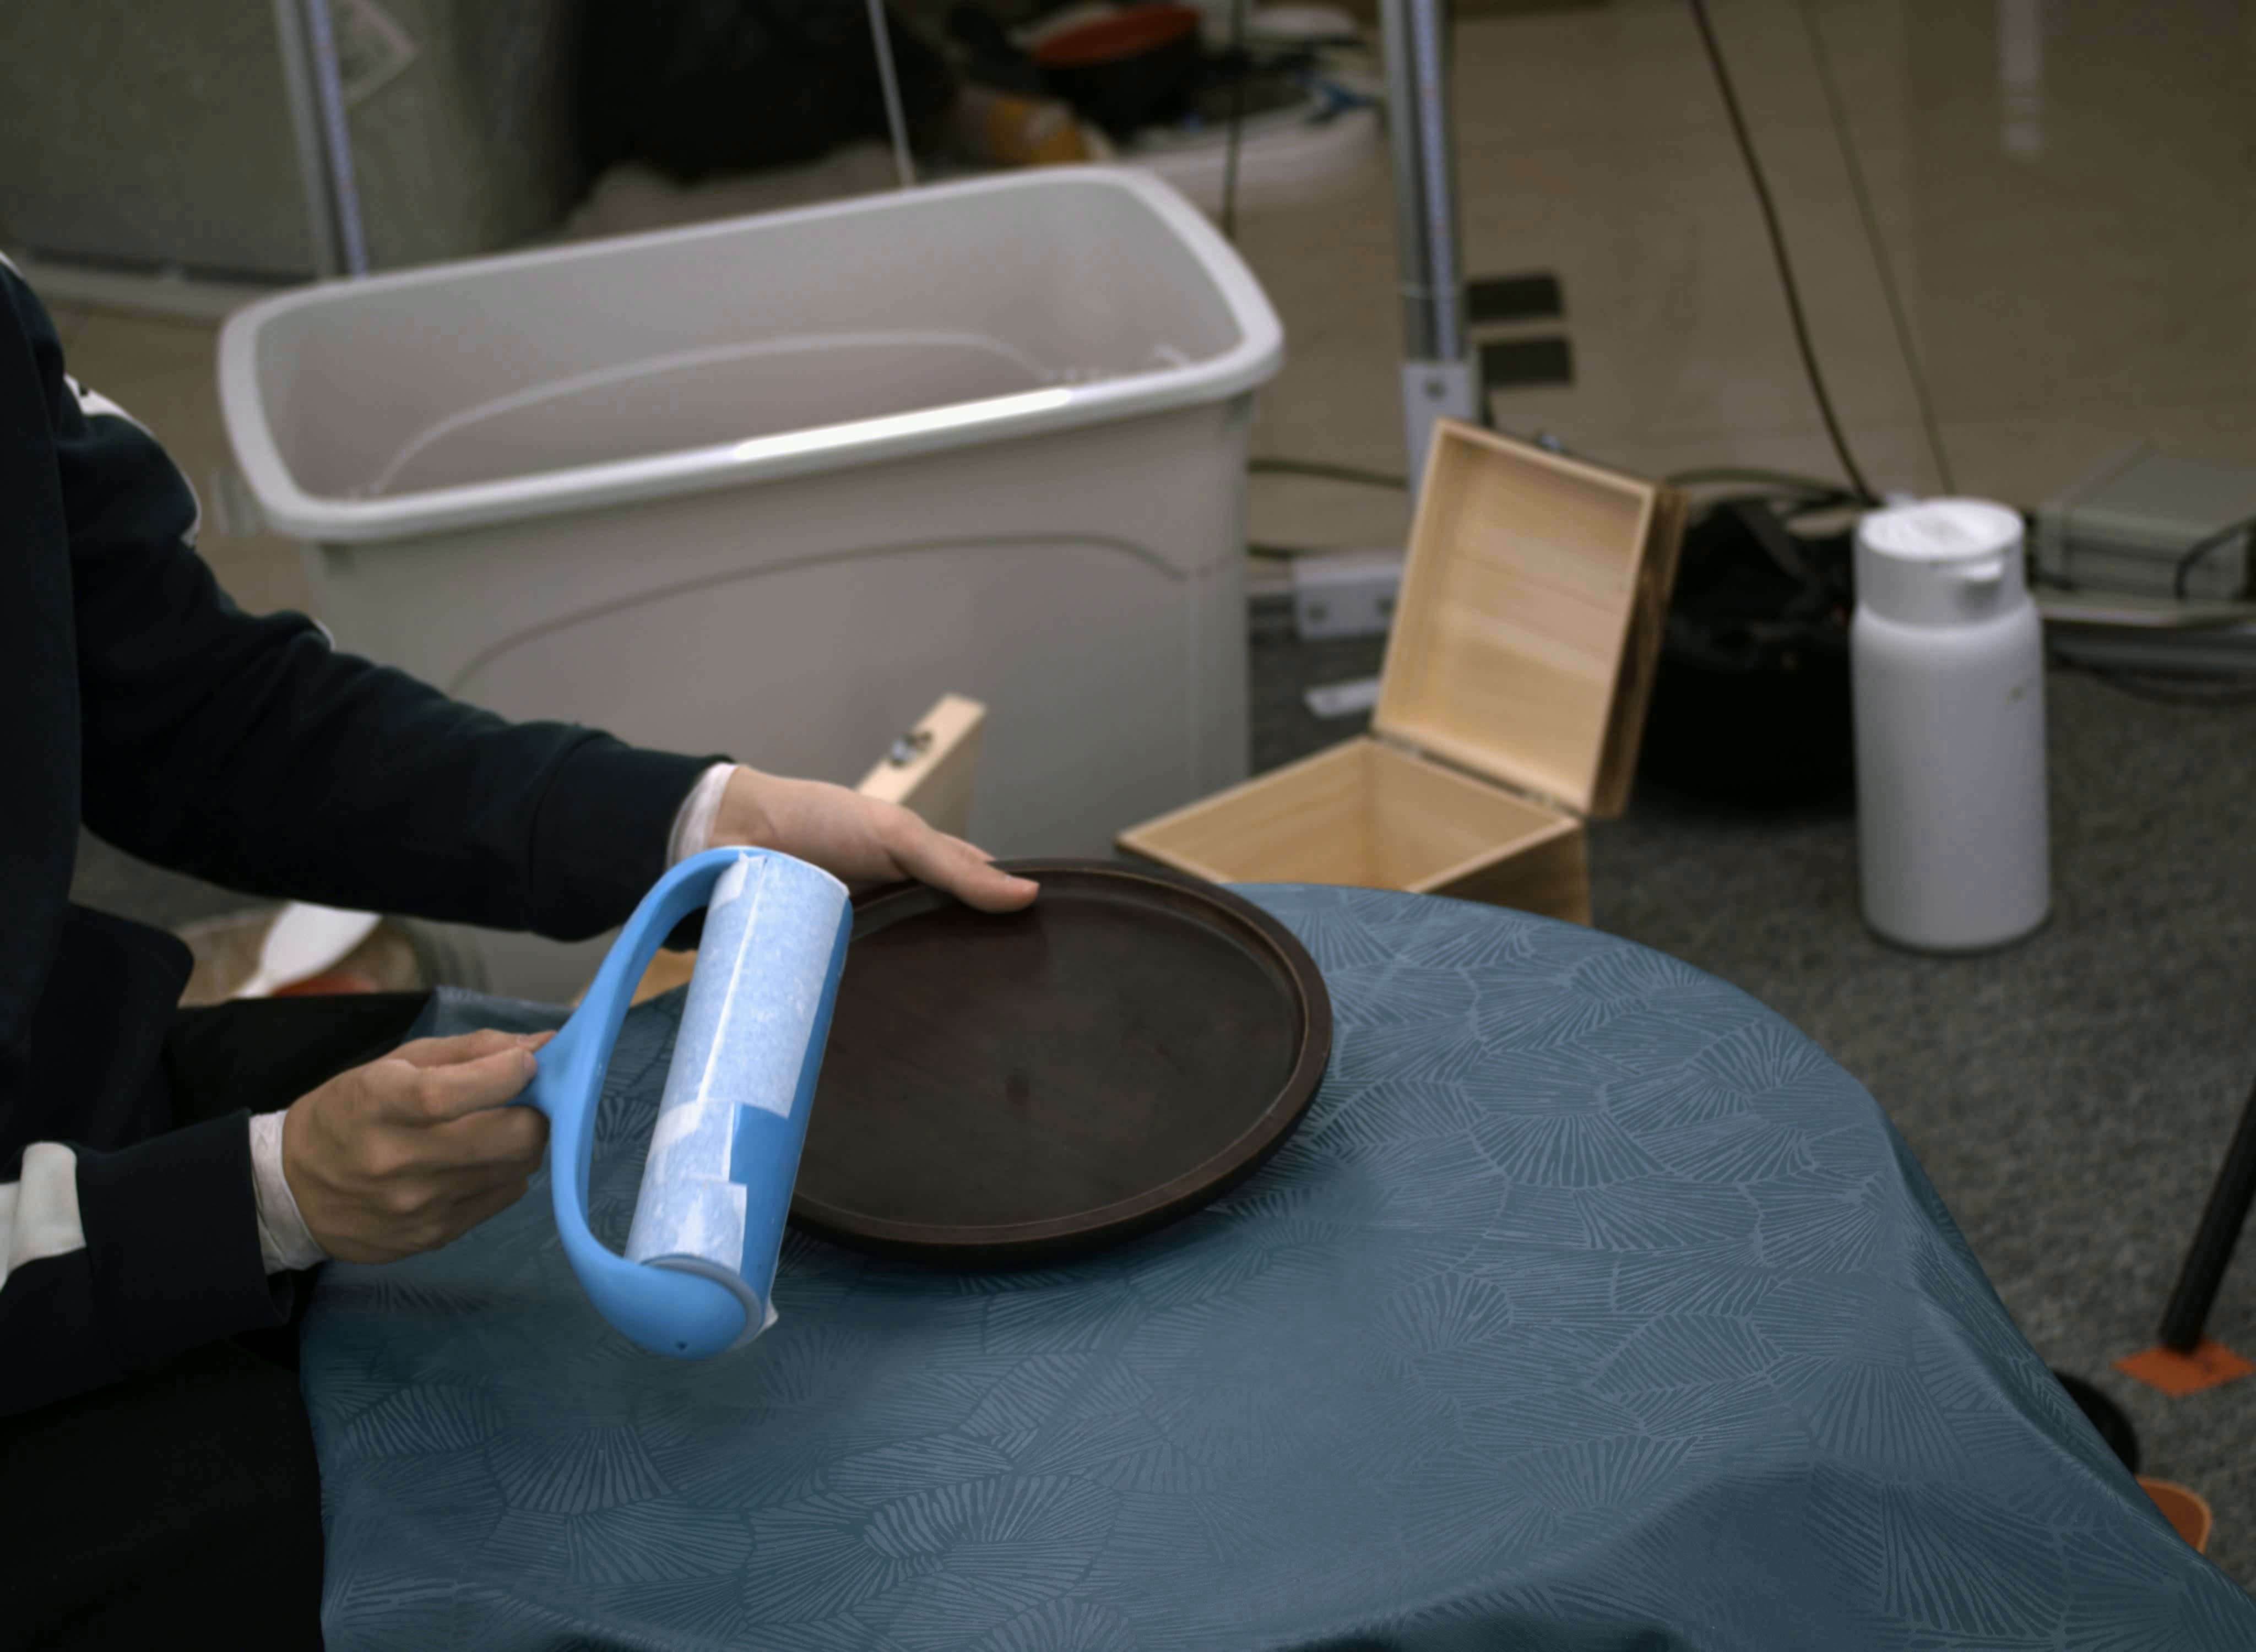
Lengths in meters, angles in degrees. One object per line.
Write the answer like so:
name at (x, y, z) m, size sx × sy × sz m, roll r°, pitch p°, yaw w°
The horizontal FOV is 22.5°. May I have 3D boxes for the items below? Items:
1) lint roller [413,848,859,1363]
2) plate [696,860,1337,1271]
lint roller at (-0.194, 0.110, 2.071) m, size 0.180 × 0.069 × 0.225 m, roll -12°, pitch 46°, yaw 20°
plate at (-0.044, 0.091, 2.189) m, size 0.254 × 0.029 × 0.250 m, roll -5°, pitch 35°, yaw 3°
